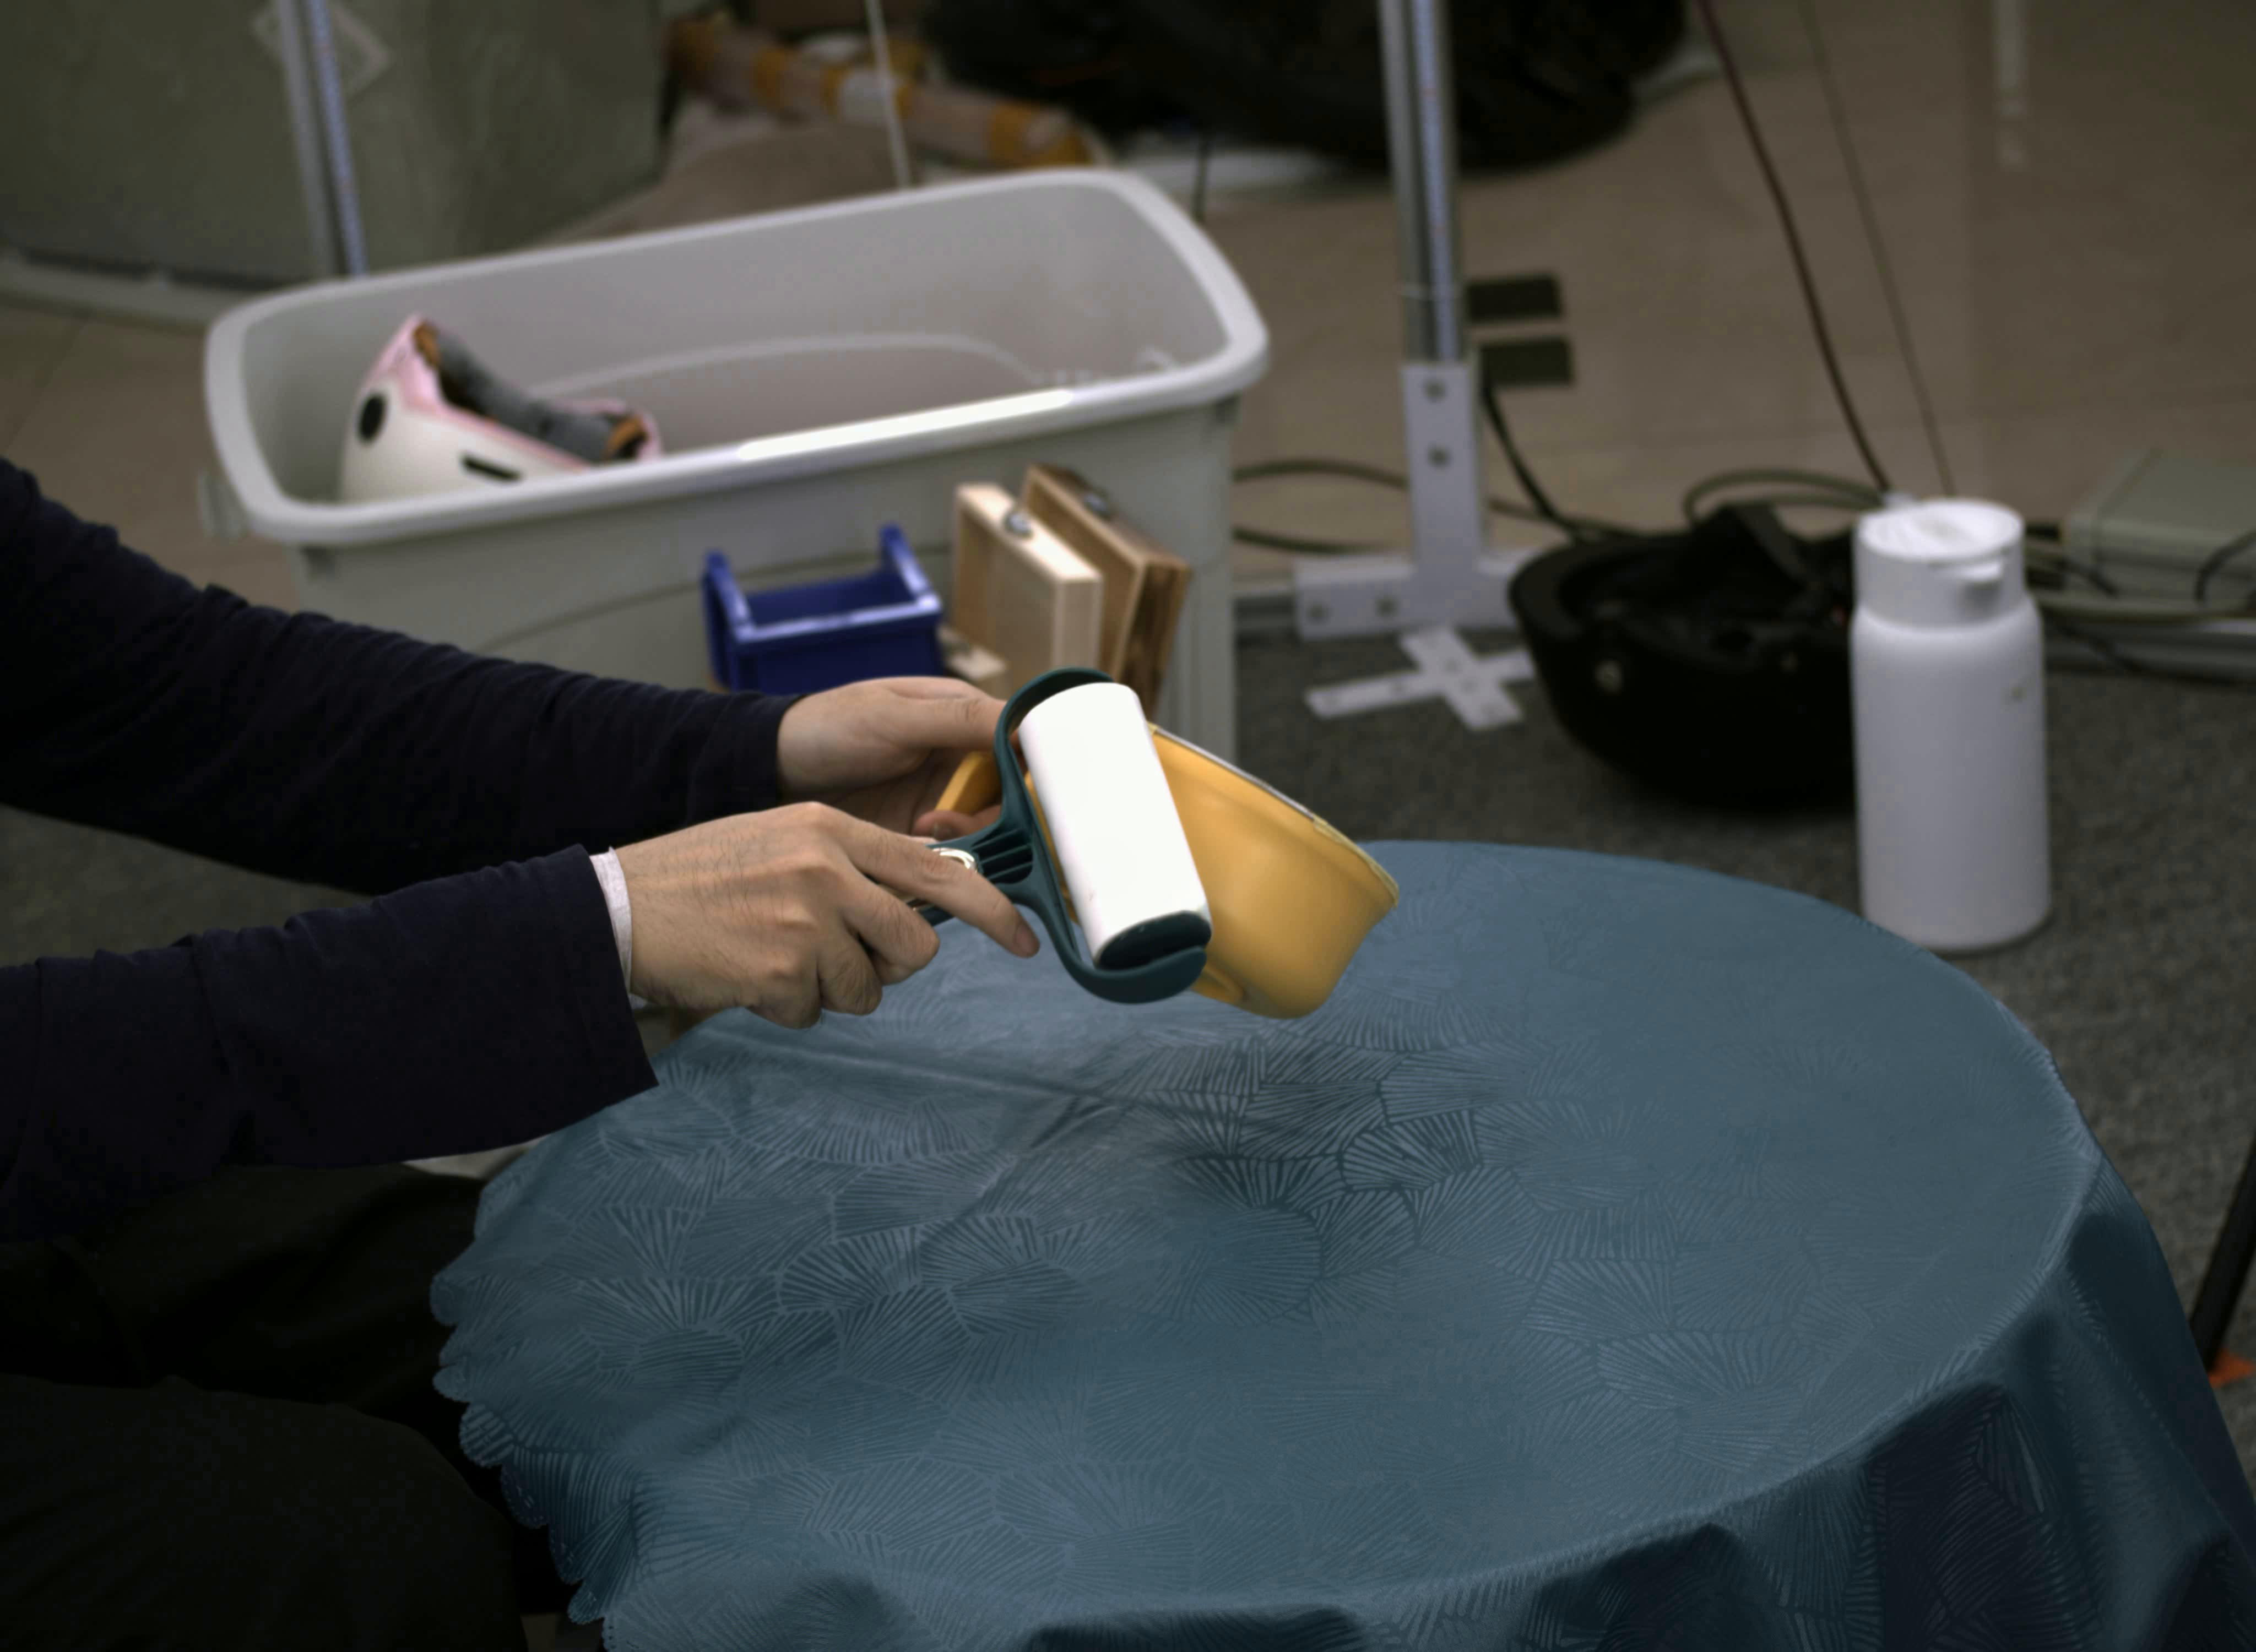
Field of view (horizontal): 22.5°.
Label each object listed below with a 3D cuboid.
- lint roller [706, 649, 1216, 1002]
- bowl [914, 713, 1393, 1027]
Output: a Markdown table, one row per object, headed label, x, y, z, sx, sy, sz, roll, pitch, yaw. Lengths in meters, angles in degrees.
| label | x | y | z | sx | sy | sz | roll | pitch | yaw |
| --- | --- | --- | --- | --- | --- | --- | --- | --- | --- |
| lint roller | -0.068 | 0.018 | 2.063 | 0.179 | 0.049 | 0.132 | -15 | 62 | -7 |
| bowl | 0.009 | 0.015 | 2.176 | 0.178 | 0.154 | 0.074 | 26 | 82 | 20 |
